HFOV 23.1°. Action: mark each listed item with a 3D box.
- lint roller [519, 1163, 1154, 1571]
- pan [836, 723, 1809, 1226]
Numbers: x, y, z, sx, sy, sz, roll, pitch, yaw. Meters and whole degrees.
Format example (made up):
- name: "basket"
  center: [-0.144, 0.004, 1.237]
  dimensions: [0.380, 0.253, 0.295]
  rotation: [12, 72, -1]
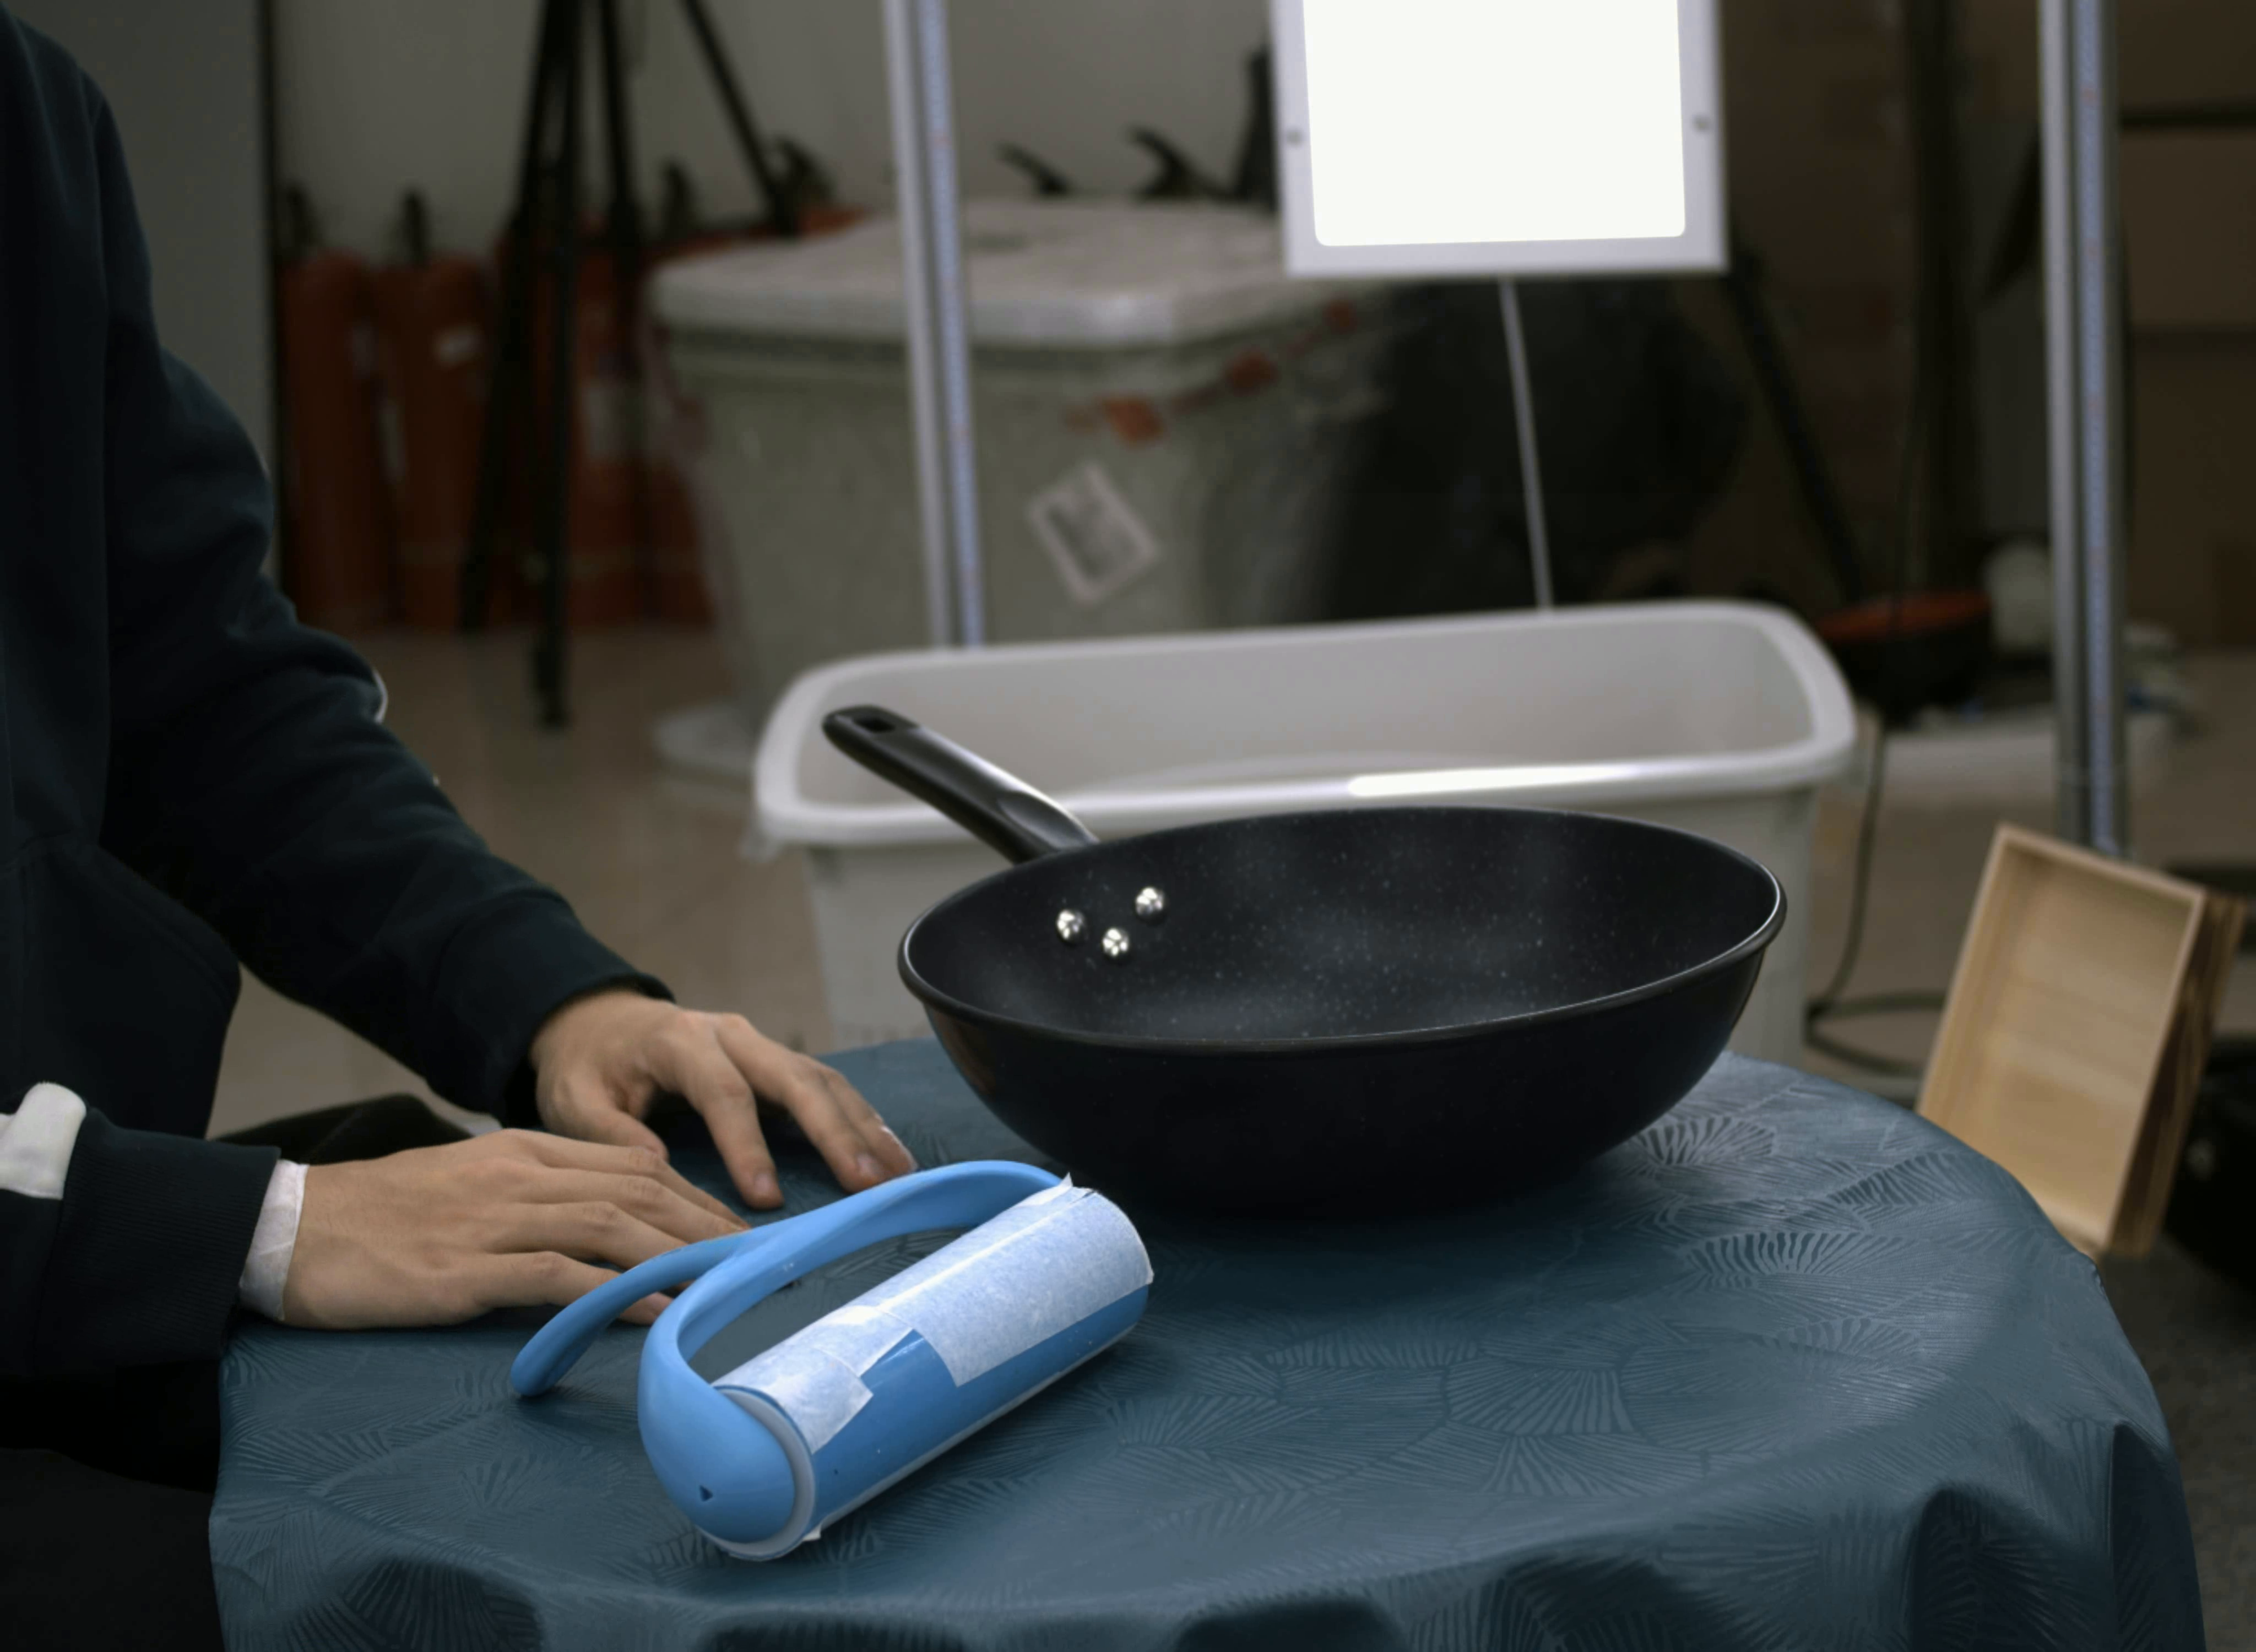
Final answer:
- name: "lint roller"
  center: [-0.113, 0.159, 1.688]
  dimensions: [0.183, 0.068, 0.224]
  rotation: [4, 19, 27]
- name: "pan"
  center: [0.033, 0.050, 1.971]
  dimensions: [0.303, 0.112, 0.486]
  rotation: [-12, 15, -33]
